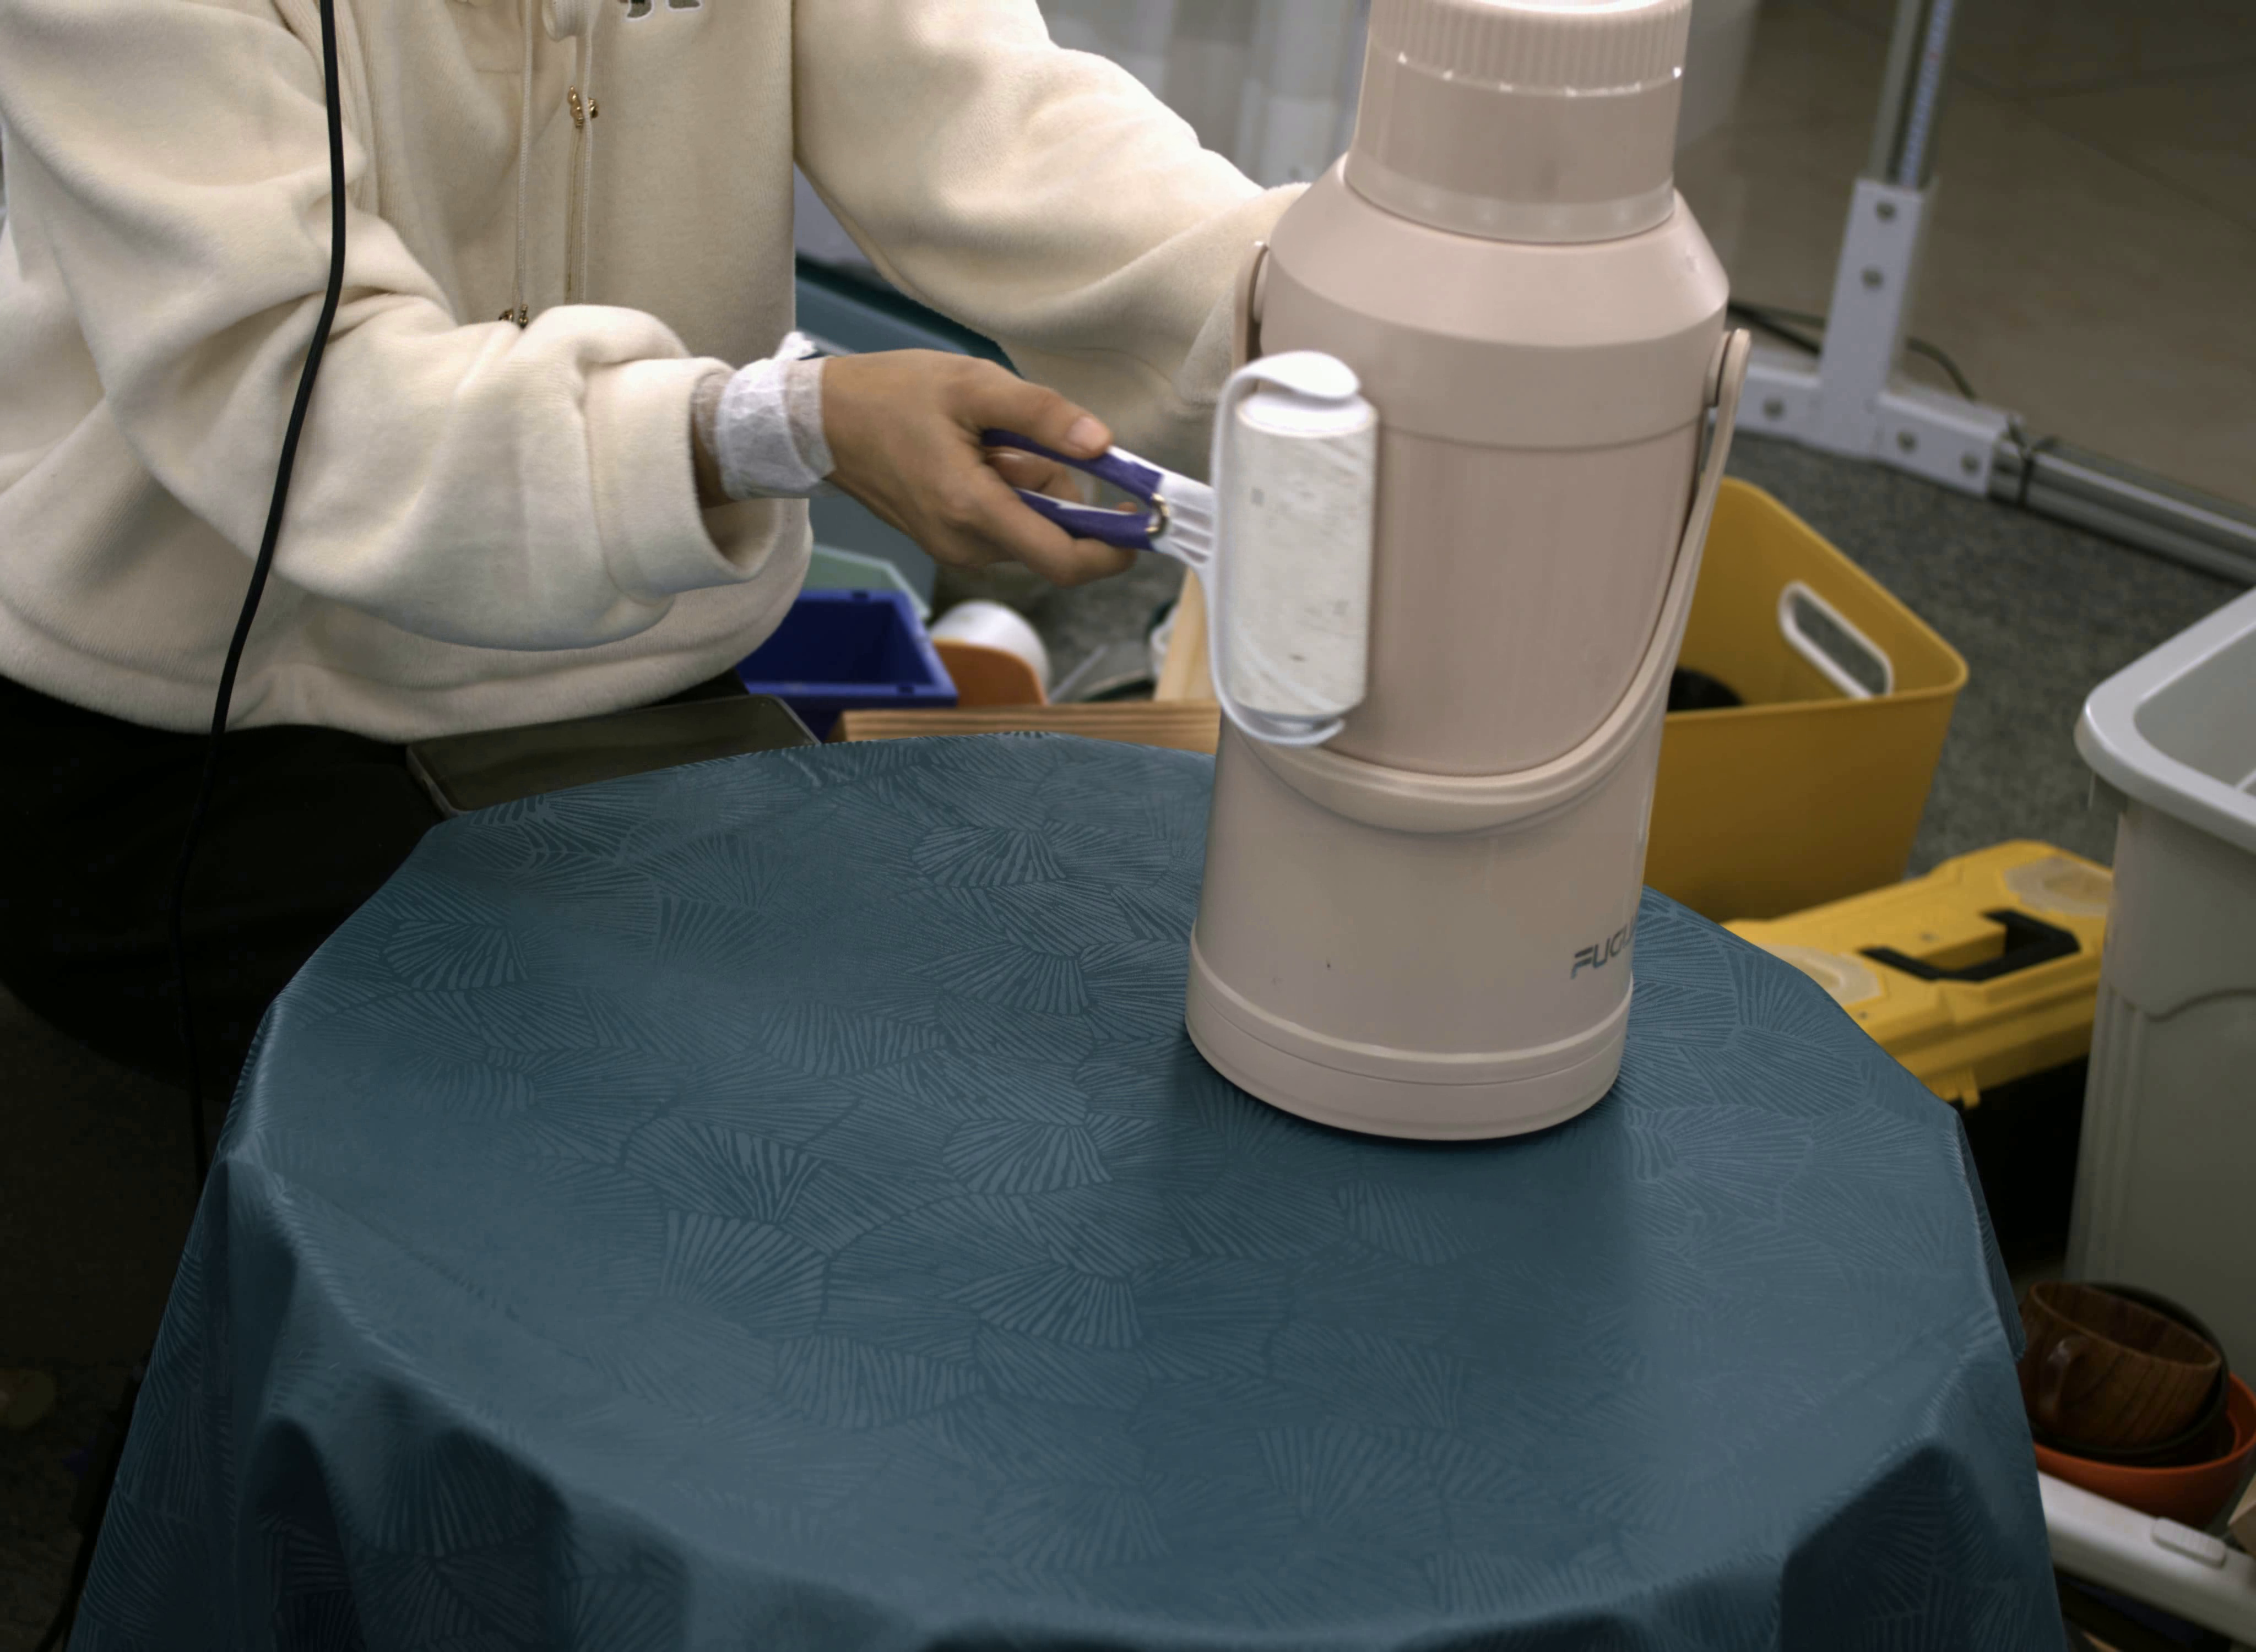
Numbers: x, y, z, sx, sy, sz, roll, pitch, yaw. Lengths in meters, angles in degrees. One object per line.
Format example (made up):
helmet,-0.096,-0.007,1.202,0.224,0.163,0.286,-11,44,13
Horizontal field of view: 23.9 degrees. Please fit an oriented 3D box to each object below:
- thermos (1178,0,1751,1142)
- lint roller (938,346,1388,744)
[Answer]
thermos,0.120,-0.108,1.843,0.175,0.405,0.207,11,25,13
lint roller,0.004,-0.107,1.778,0.181,0.132,0.050,16,27,27
